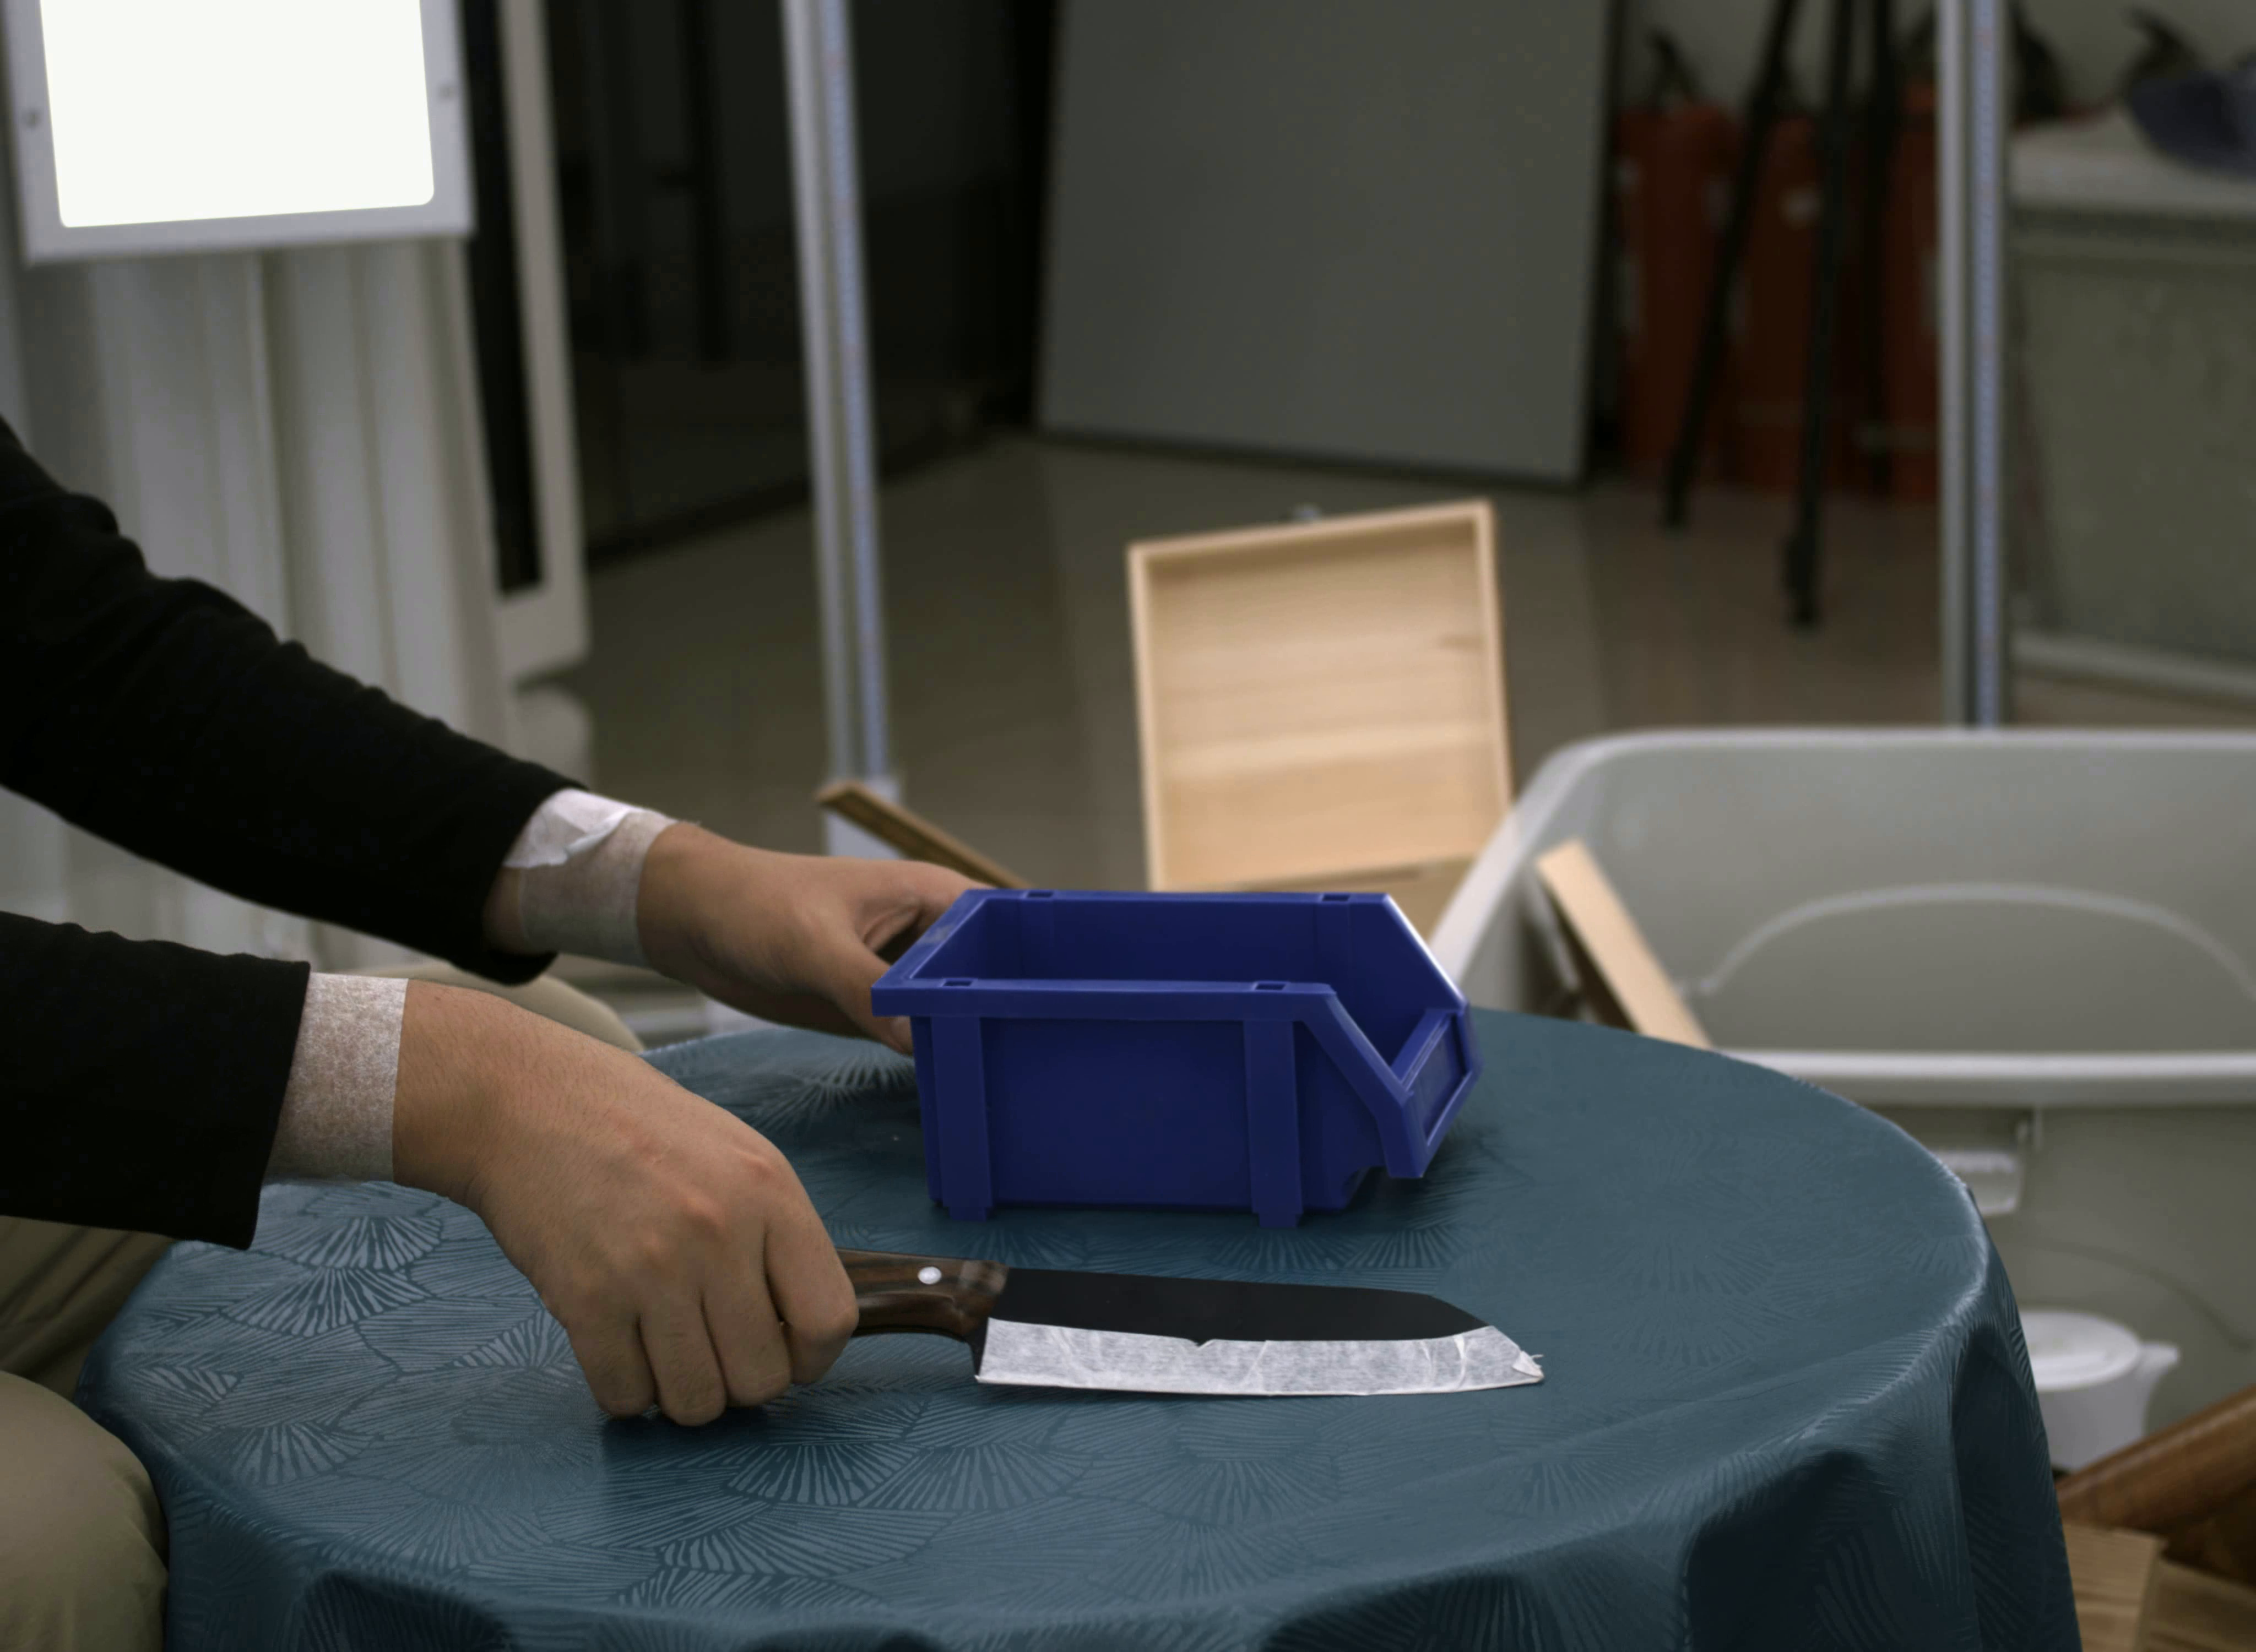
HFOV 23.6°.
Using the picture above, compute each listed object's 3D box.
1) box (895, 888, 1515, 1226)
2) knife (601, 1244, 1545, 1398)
[{"bbox_3d":[0.029,0.074,1.780,0.179,0.083,0.123,-2,13,18],"label":"box"},{"bbox_3d":[-0.018,0.147,1.595,0.287,0.020,0.050,4,48,11],"label":"knife"}]
